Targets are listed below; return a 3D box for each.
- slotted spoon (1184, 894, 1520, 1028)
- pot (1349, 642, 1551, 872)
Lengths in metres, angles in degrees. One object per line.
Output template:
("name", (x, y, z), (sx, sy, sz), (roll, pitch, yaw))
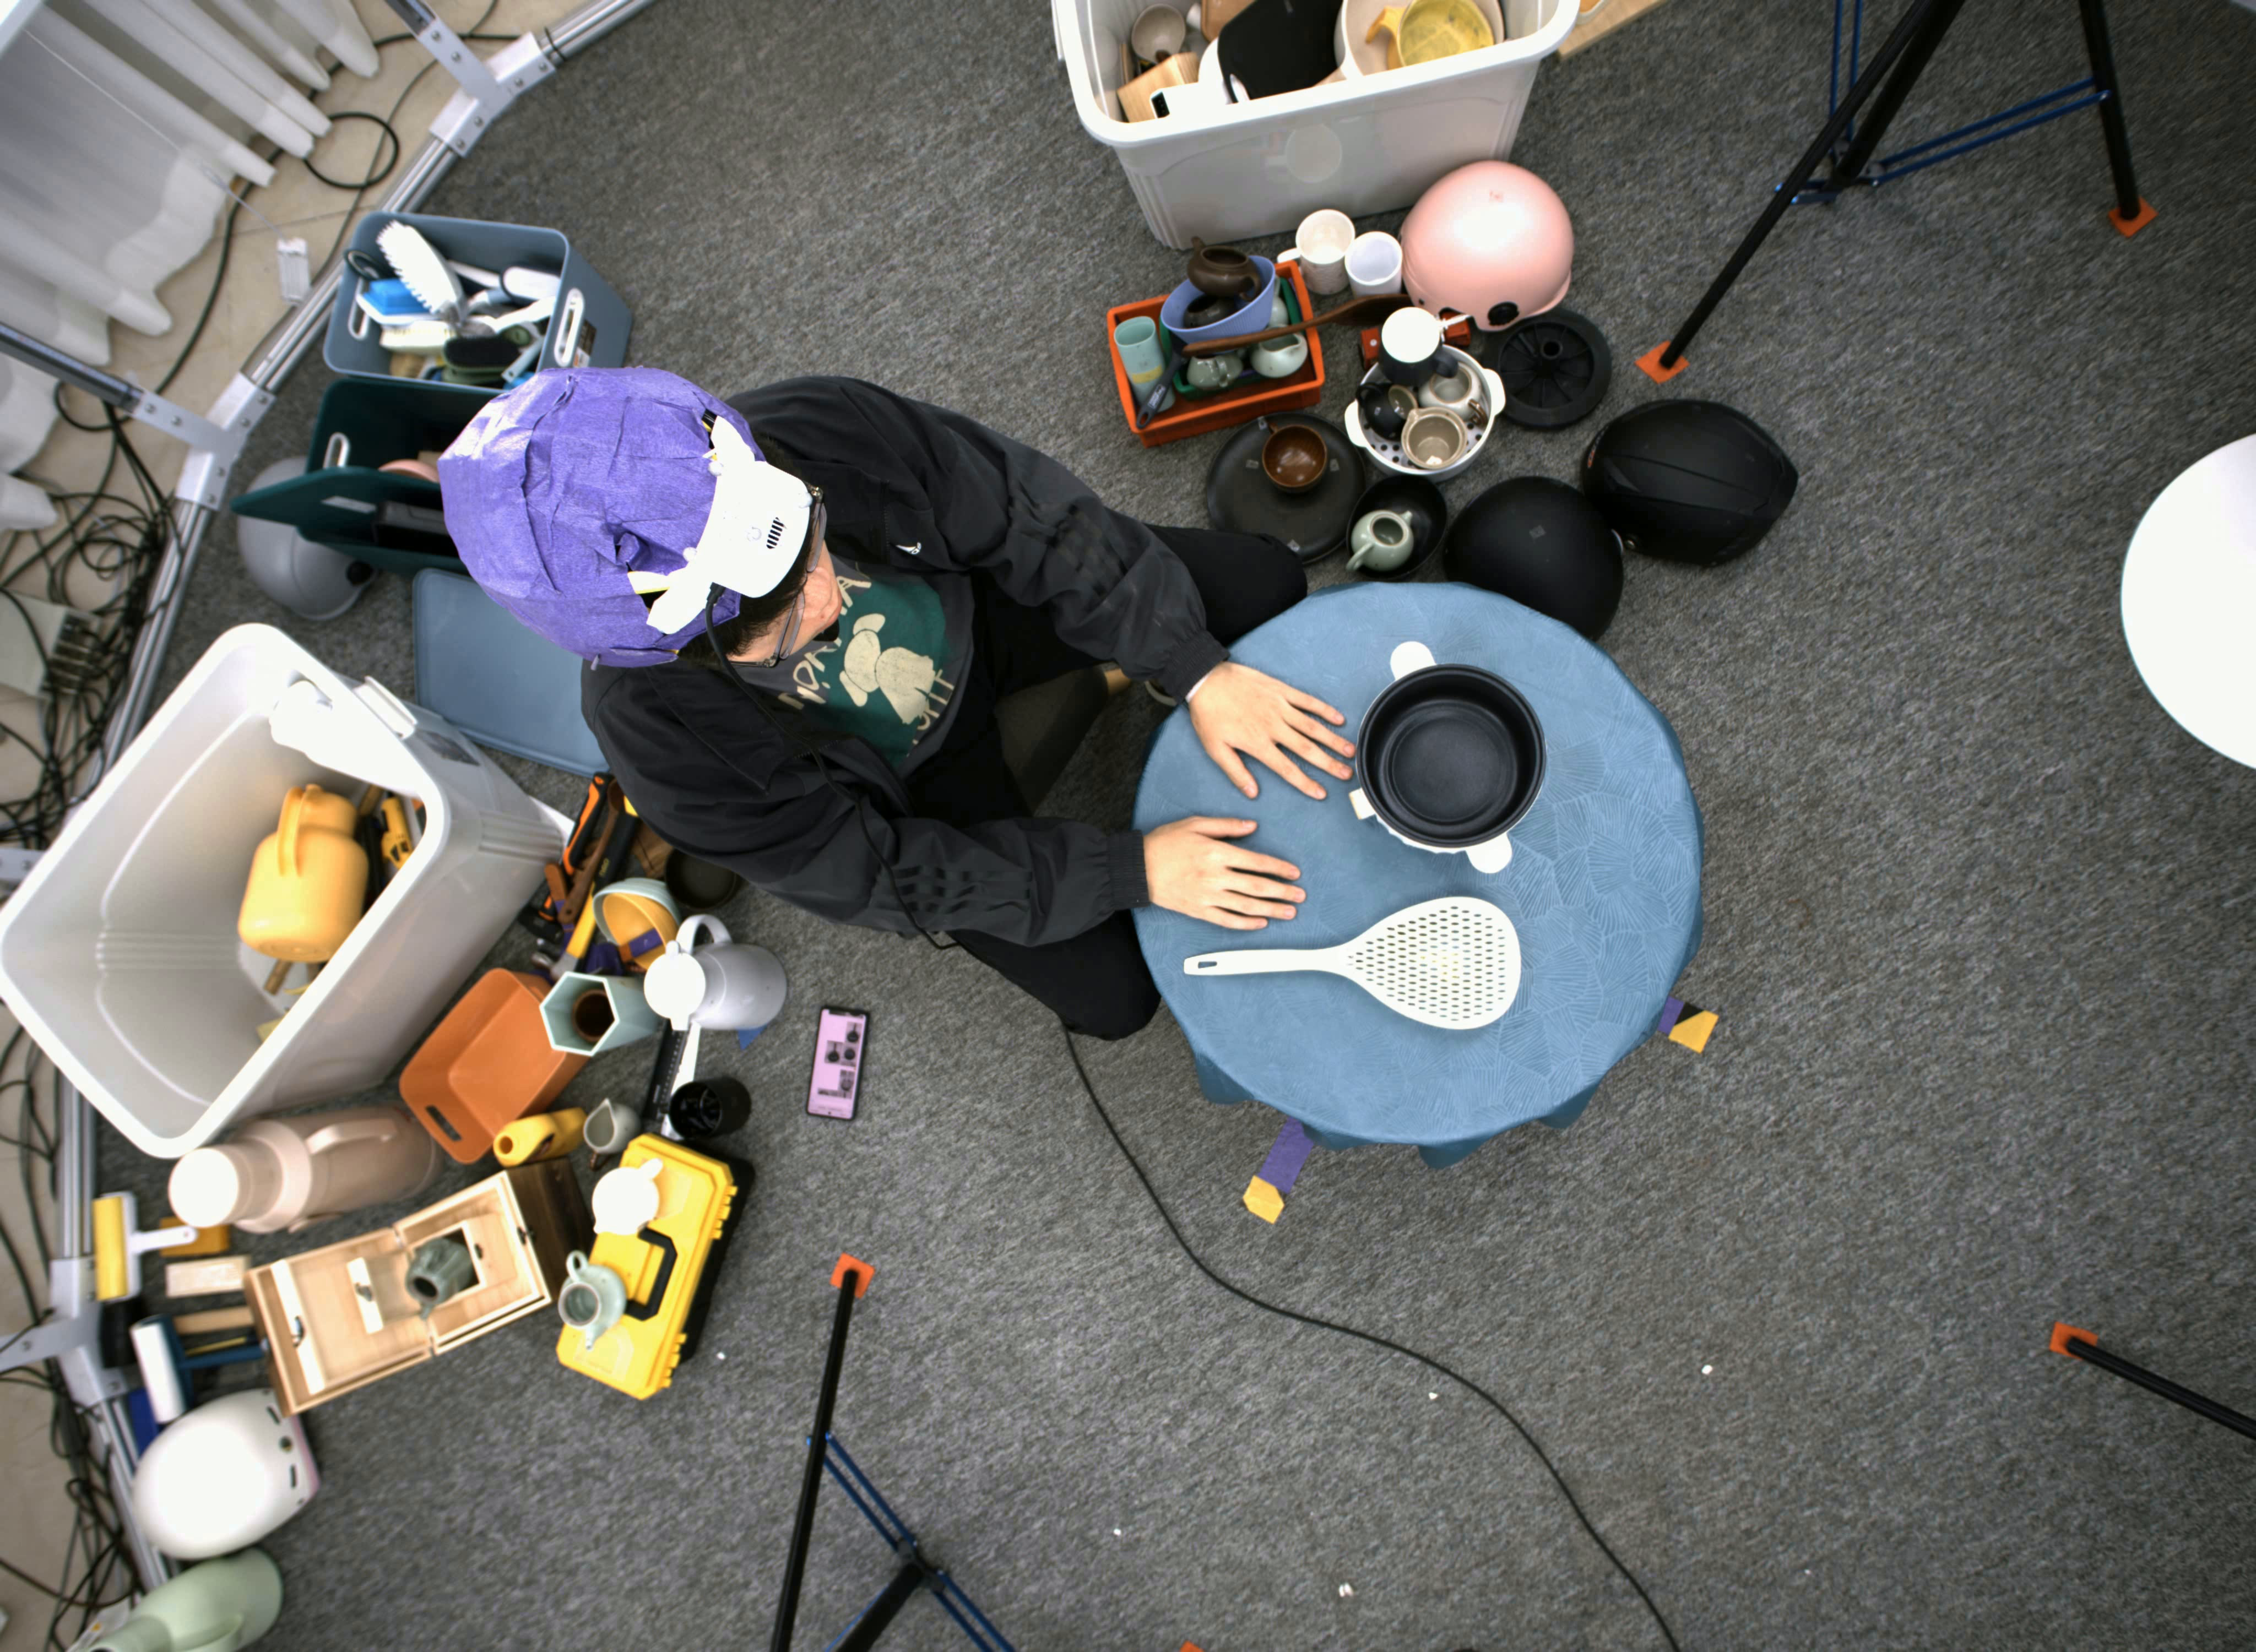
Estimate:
("slotted spoon", (0.228, 0.141, 1.441), (0.349, 0.050, 0.135), (-1, 82, 10))
("pot", (0.318, -0.060, 1.386), (0.191, 0.143, 0.238), (-22, 81, 5))
